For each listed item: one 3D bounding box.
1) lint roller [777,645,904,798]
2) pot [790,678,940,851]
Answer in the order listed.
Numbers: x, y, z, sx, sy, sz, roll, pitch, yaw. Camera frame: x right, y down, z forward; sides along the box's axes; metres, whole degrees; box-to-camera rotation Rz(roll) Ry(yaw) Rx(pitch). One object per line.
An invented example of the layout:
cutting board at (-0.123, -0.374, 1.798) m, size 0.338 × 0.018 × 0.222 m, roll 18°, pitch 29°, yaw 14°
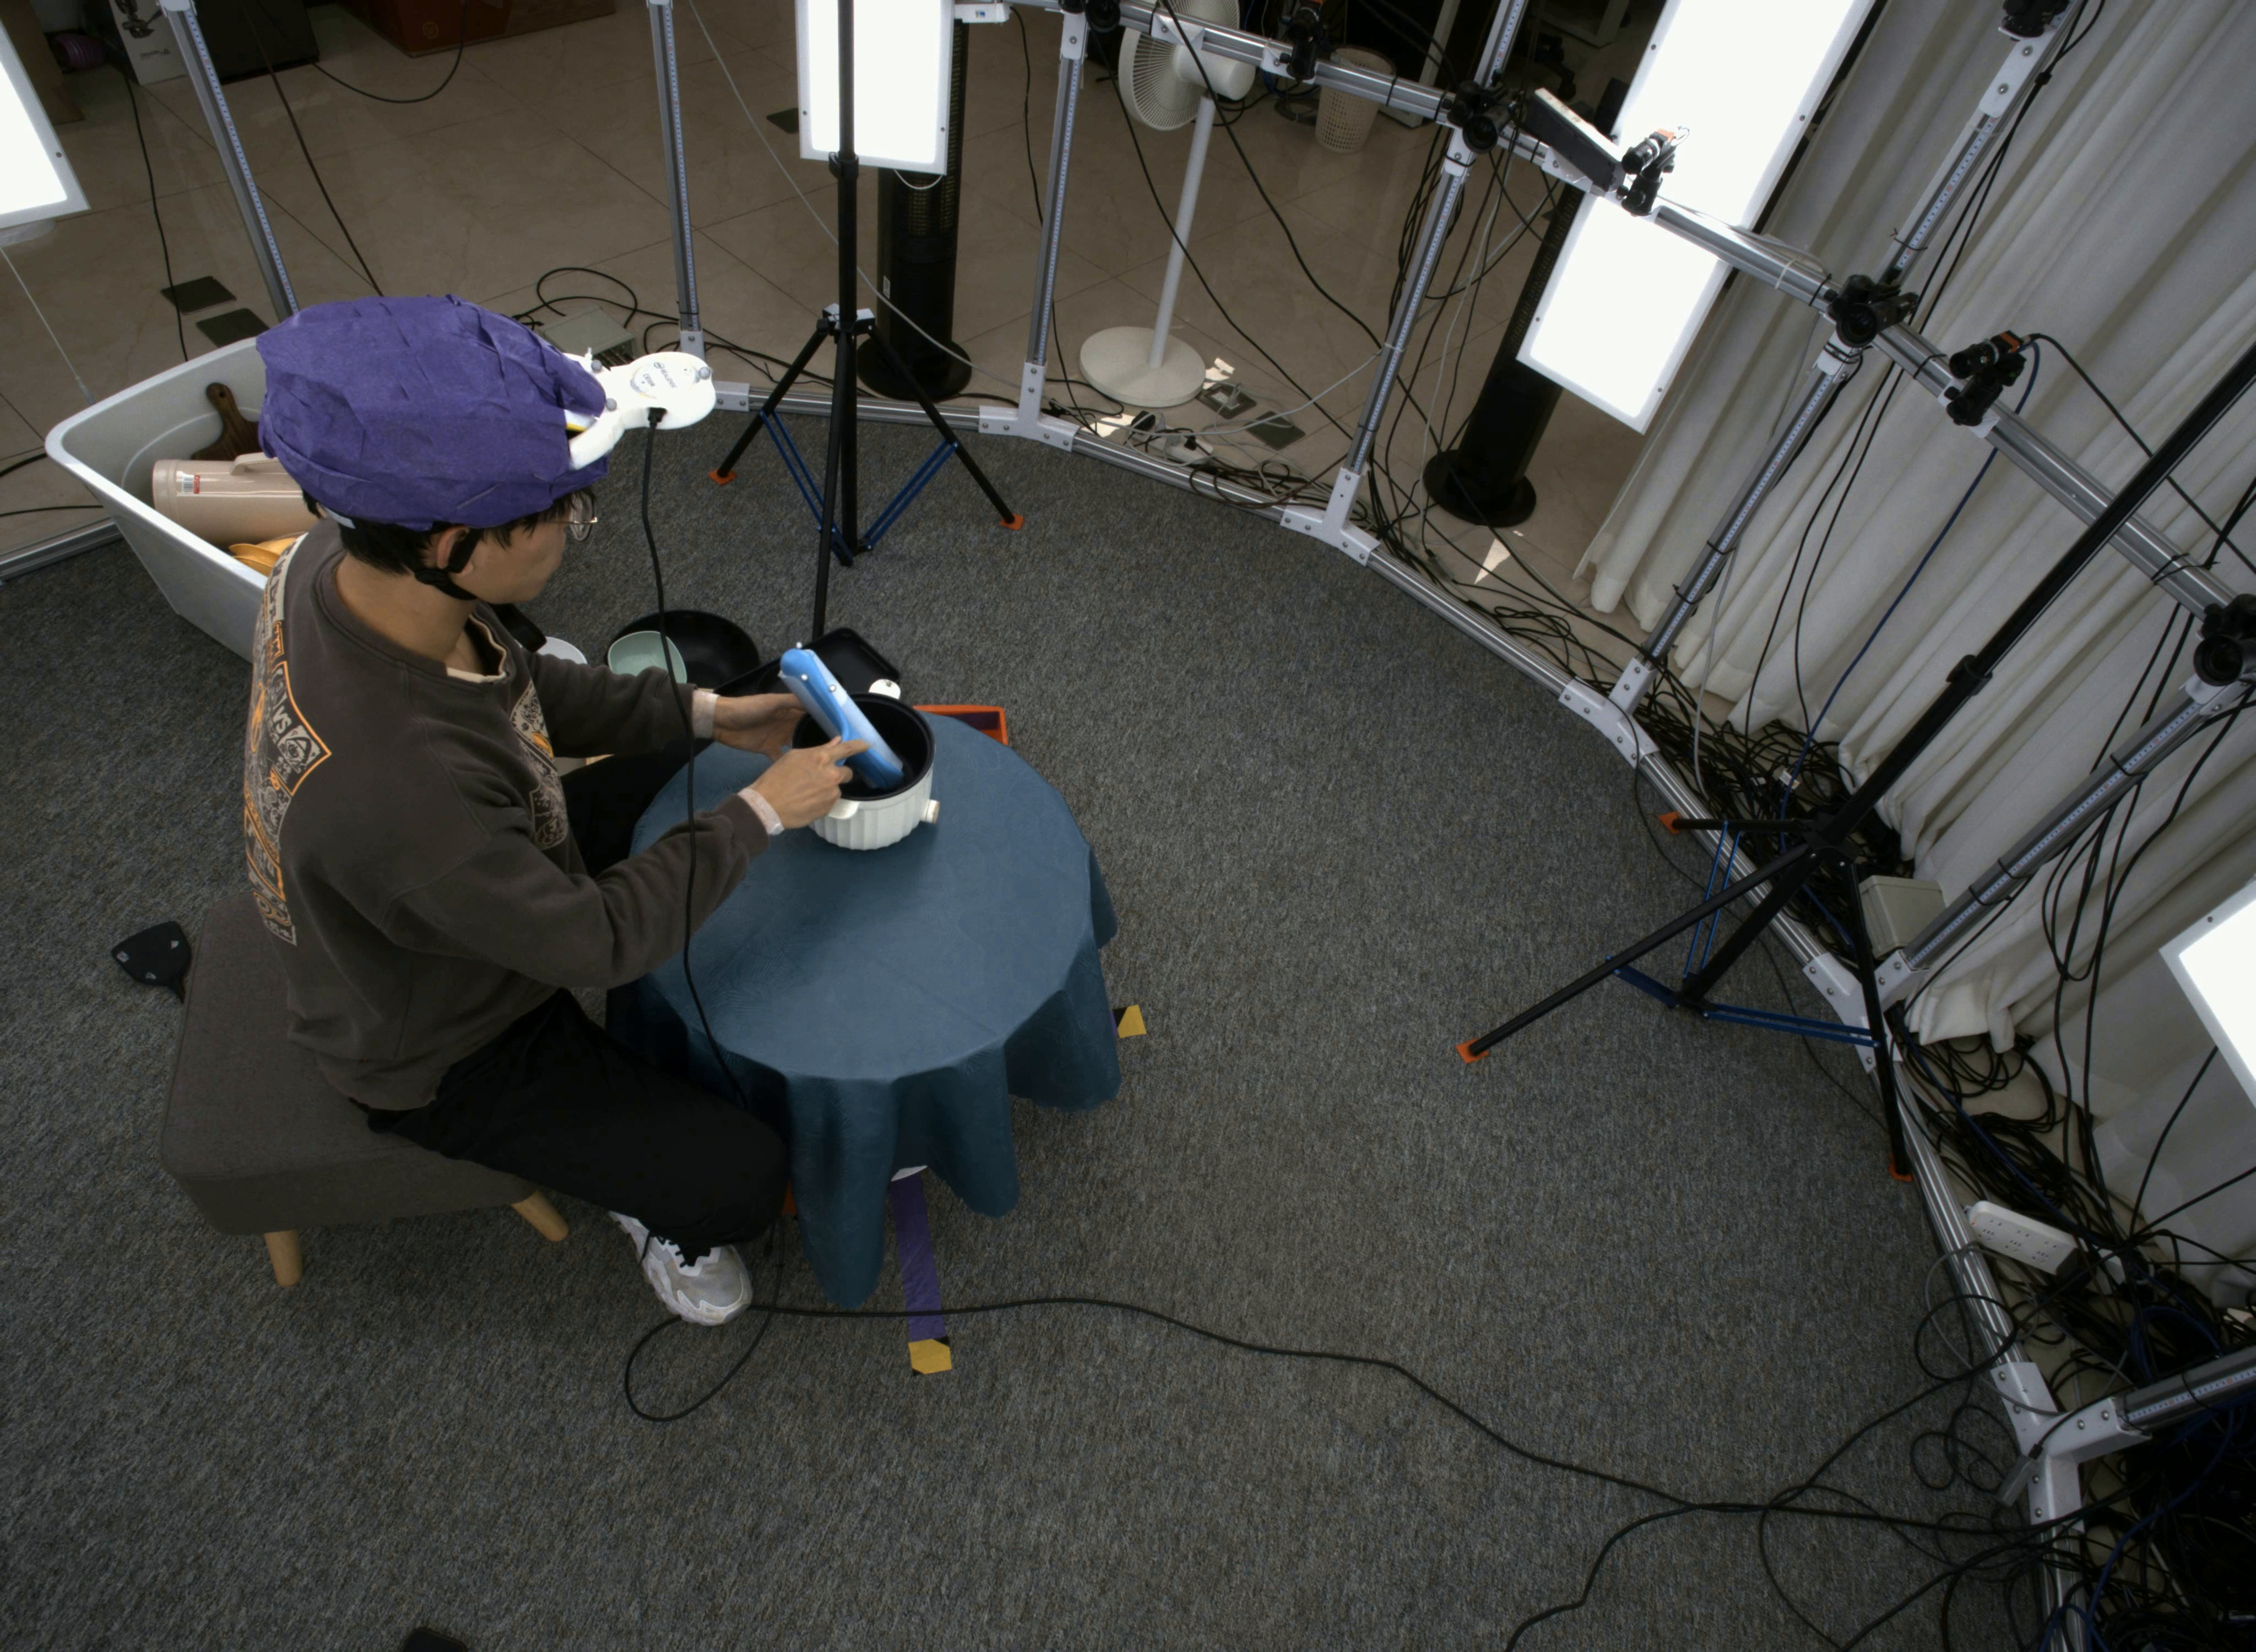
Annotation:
lint roller at (-0.368, -0.102, 1.624) m, size 0.067 × 0.238 × 0.176 m, roll -23°, pitch 36°, yaw 16°
pot at (-0.344, -0.065, 1.717) m, size 0.189 × 0.146 × 0.237 m, roll 10°, pitch 54°, yaw -1°
